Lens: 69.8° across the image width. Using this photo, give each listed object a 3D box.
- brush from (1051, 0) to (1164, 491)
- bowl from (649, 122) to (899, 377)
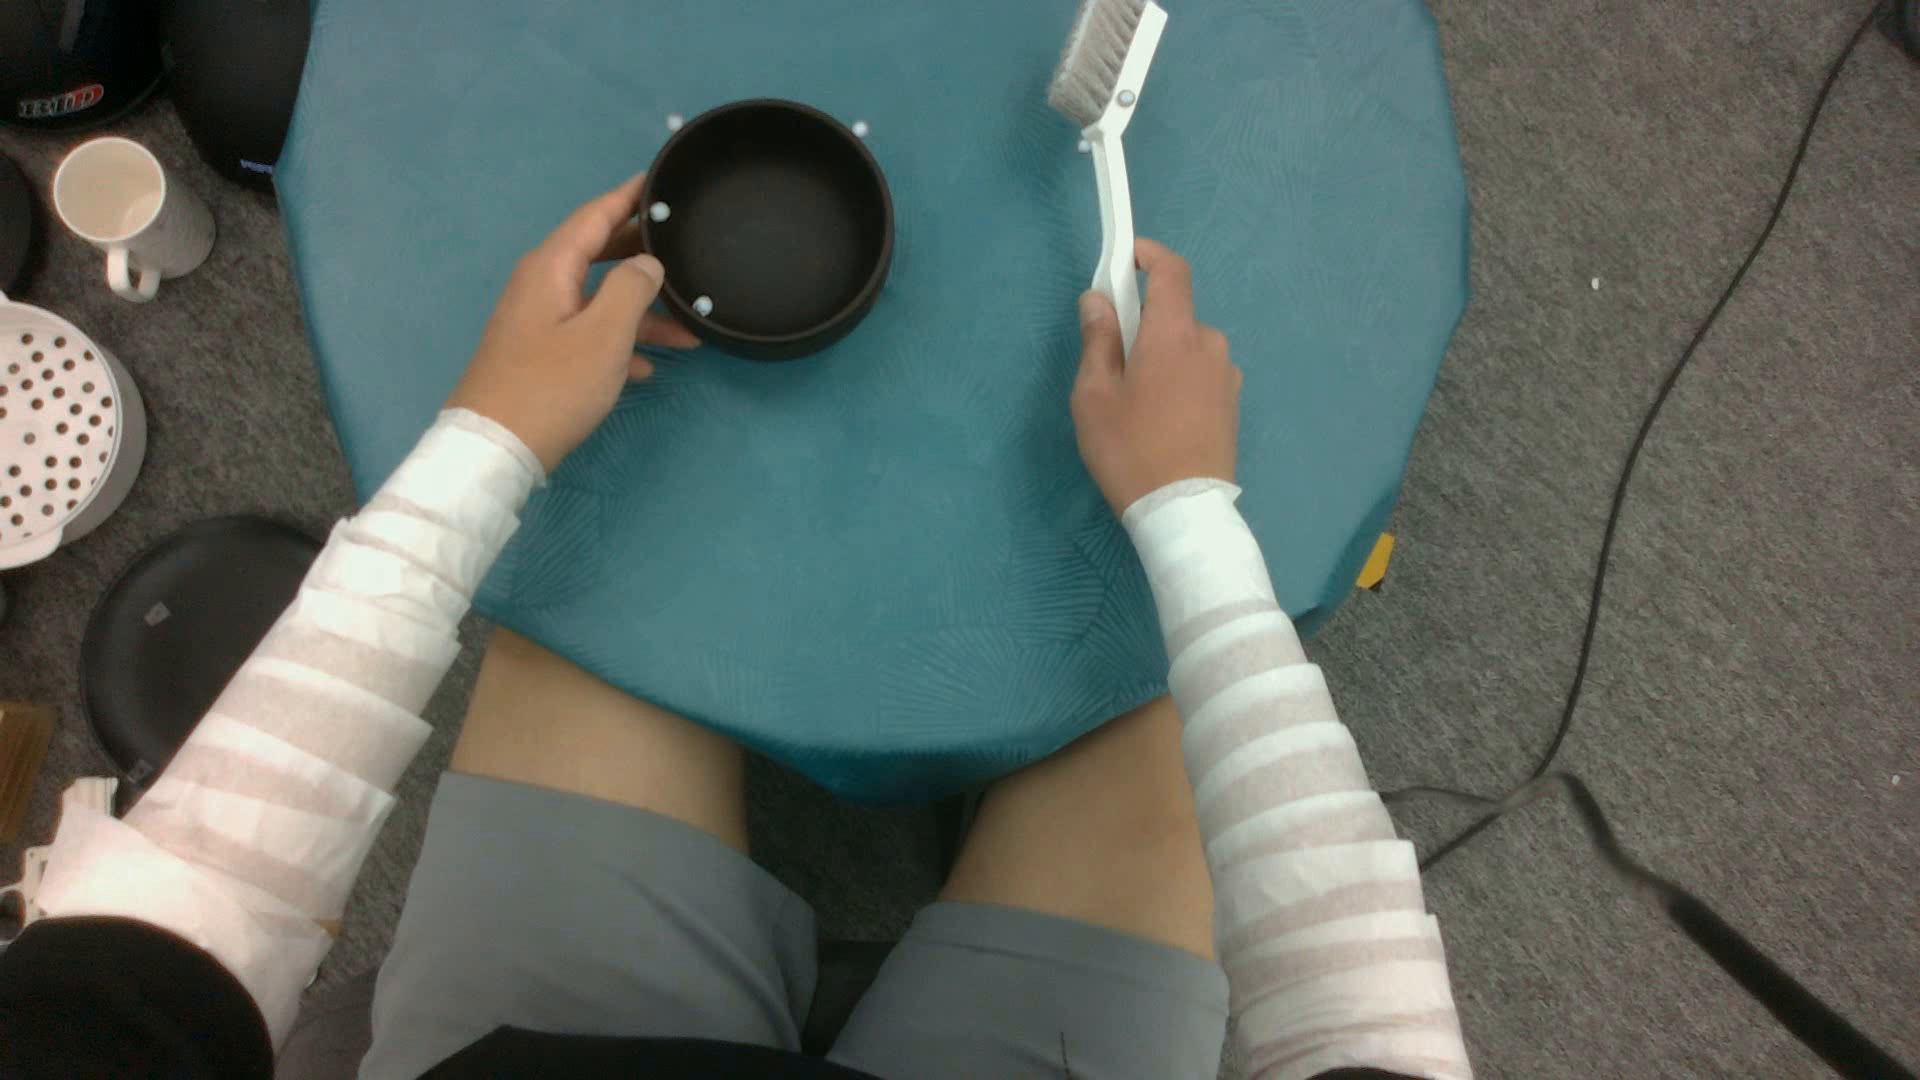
[{"bbox_3d":[0.066,-0.147,0.686,0.050,0.034,0.244,6,86,-22],"label":"brush"},{"bbox_3d":[-0.090,-0.136,0.673,0.118,0.070,0.118,1,84,-6],"label":"bowl"}]
